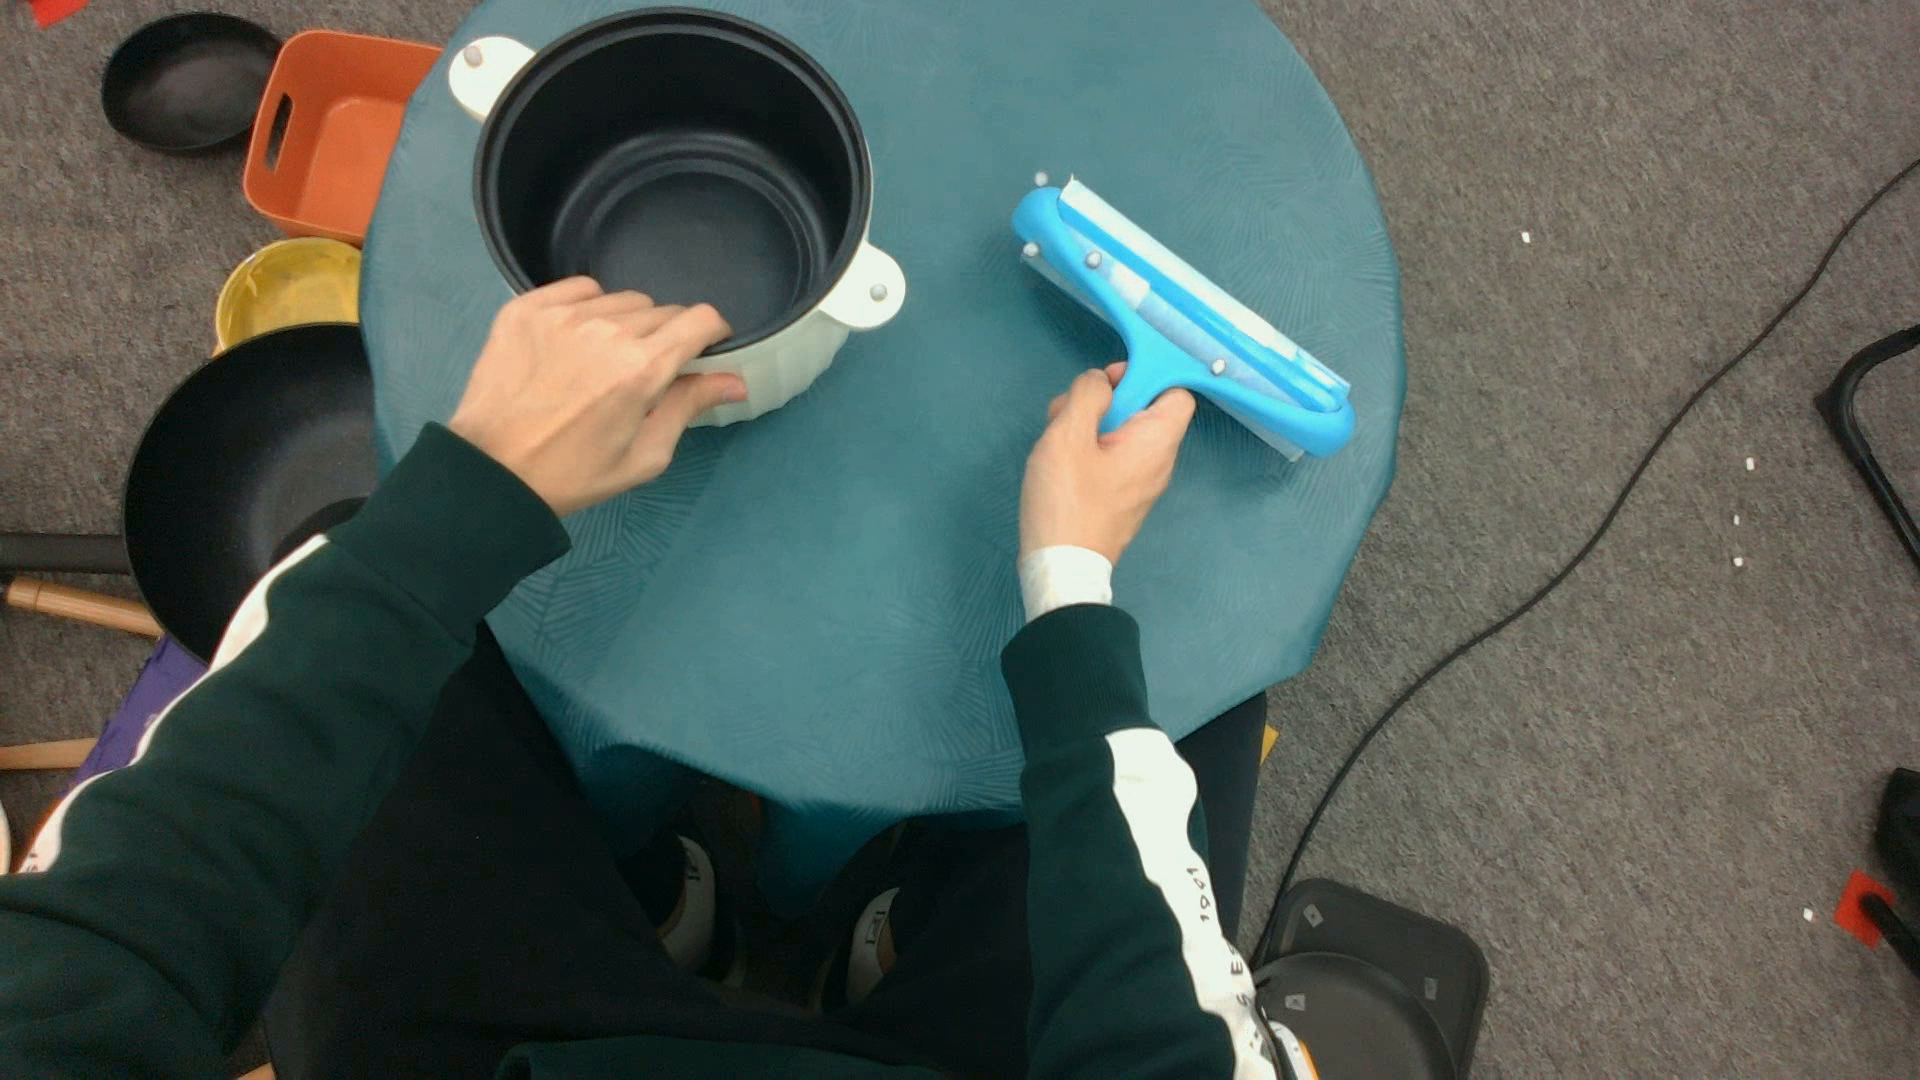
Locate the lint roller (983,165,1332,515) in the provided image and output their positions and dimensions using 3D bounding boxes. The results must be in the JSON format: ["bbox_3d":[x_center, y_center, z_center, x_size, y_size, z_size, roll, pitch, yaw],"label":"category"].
[{"bbox_3d":[0.086,-0.091,0.743,0.229,0.067,0.181,33,58,-5],"label":"lint roller"}]

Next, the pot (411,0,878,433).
[{"bbox_3d":[-0.149,-0.160,0.700,0.240,0.142,0.191,27,78,3],"label":"pot"}]
